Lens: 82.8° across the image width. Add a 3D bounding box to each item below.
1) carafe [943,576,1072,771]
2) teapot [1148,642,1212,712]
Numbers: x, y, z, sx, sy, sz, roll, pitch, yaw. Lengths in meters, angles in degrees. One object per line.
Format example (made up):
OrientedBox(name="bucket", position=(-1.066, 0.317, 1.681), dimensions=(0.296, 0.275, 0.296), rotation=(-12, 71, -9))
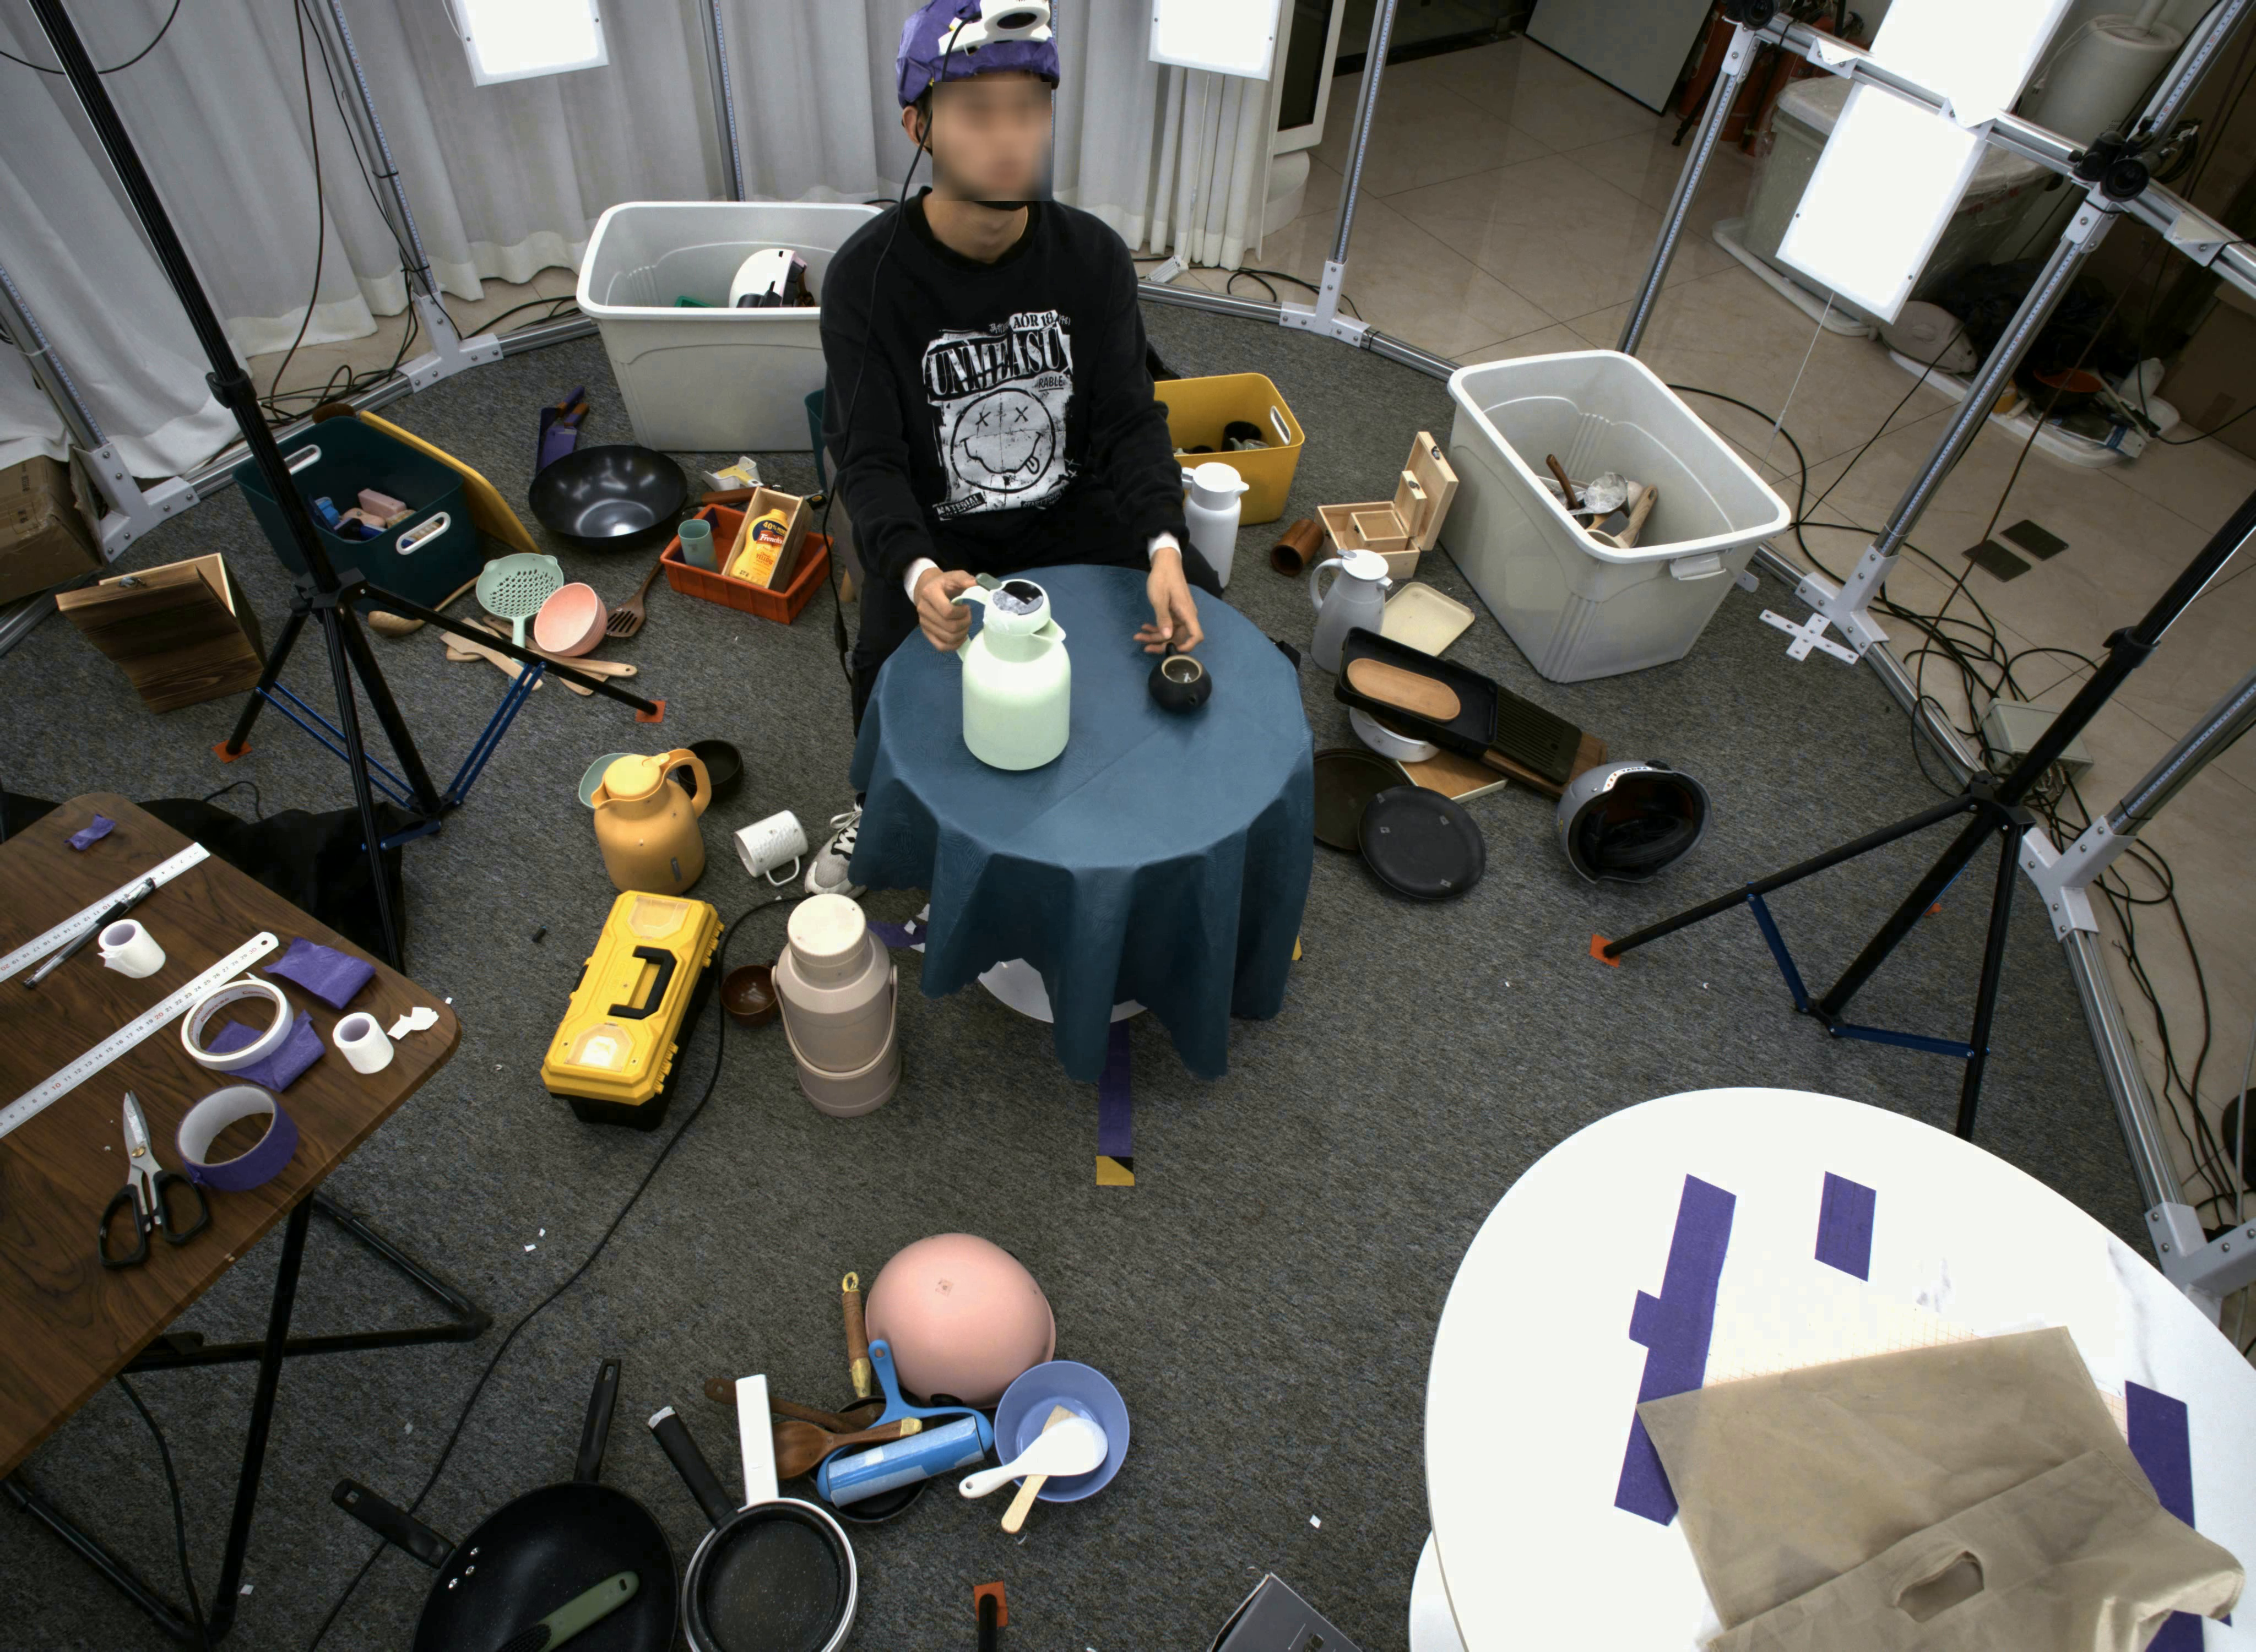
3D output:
OrientedBox(name="carafe", position=(-0.157, -0.207, 1.678), dimensions=(0.189, 0.250, 0.146), rotation=(29, 55, 23))
OrientedBox(name="teapot", position=(0.074, -0.204, 1.816), dimensions=(0.091, 0.052, 0.136), rotation=(-7, 50, -12))
